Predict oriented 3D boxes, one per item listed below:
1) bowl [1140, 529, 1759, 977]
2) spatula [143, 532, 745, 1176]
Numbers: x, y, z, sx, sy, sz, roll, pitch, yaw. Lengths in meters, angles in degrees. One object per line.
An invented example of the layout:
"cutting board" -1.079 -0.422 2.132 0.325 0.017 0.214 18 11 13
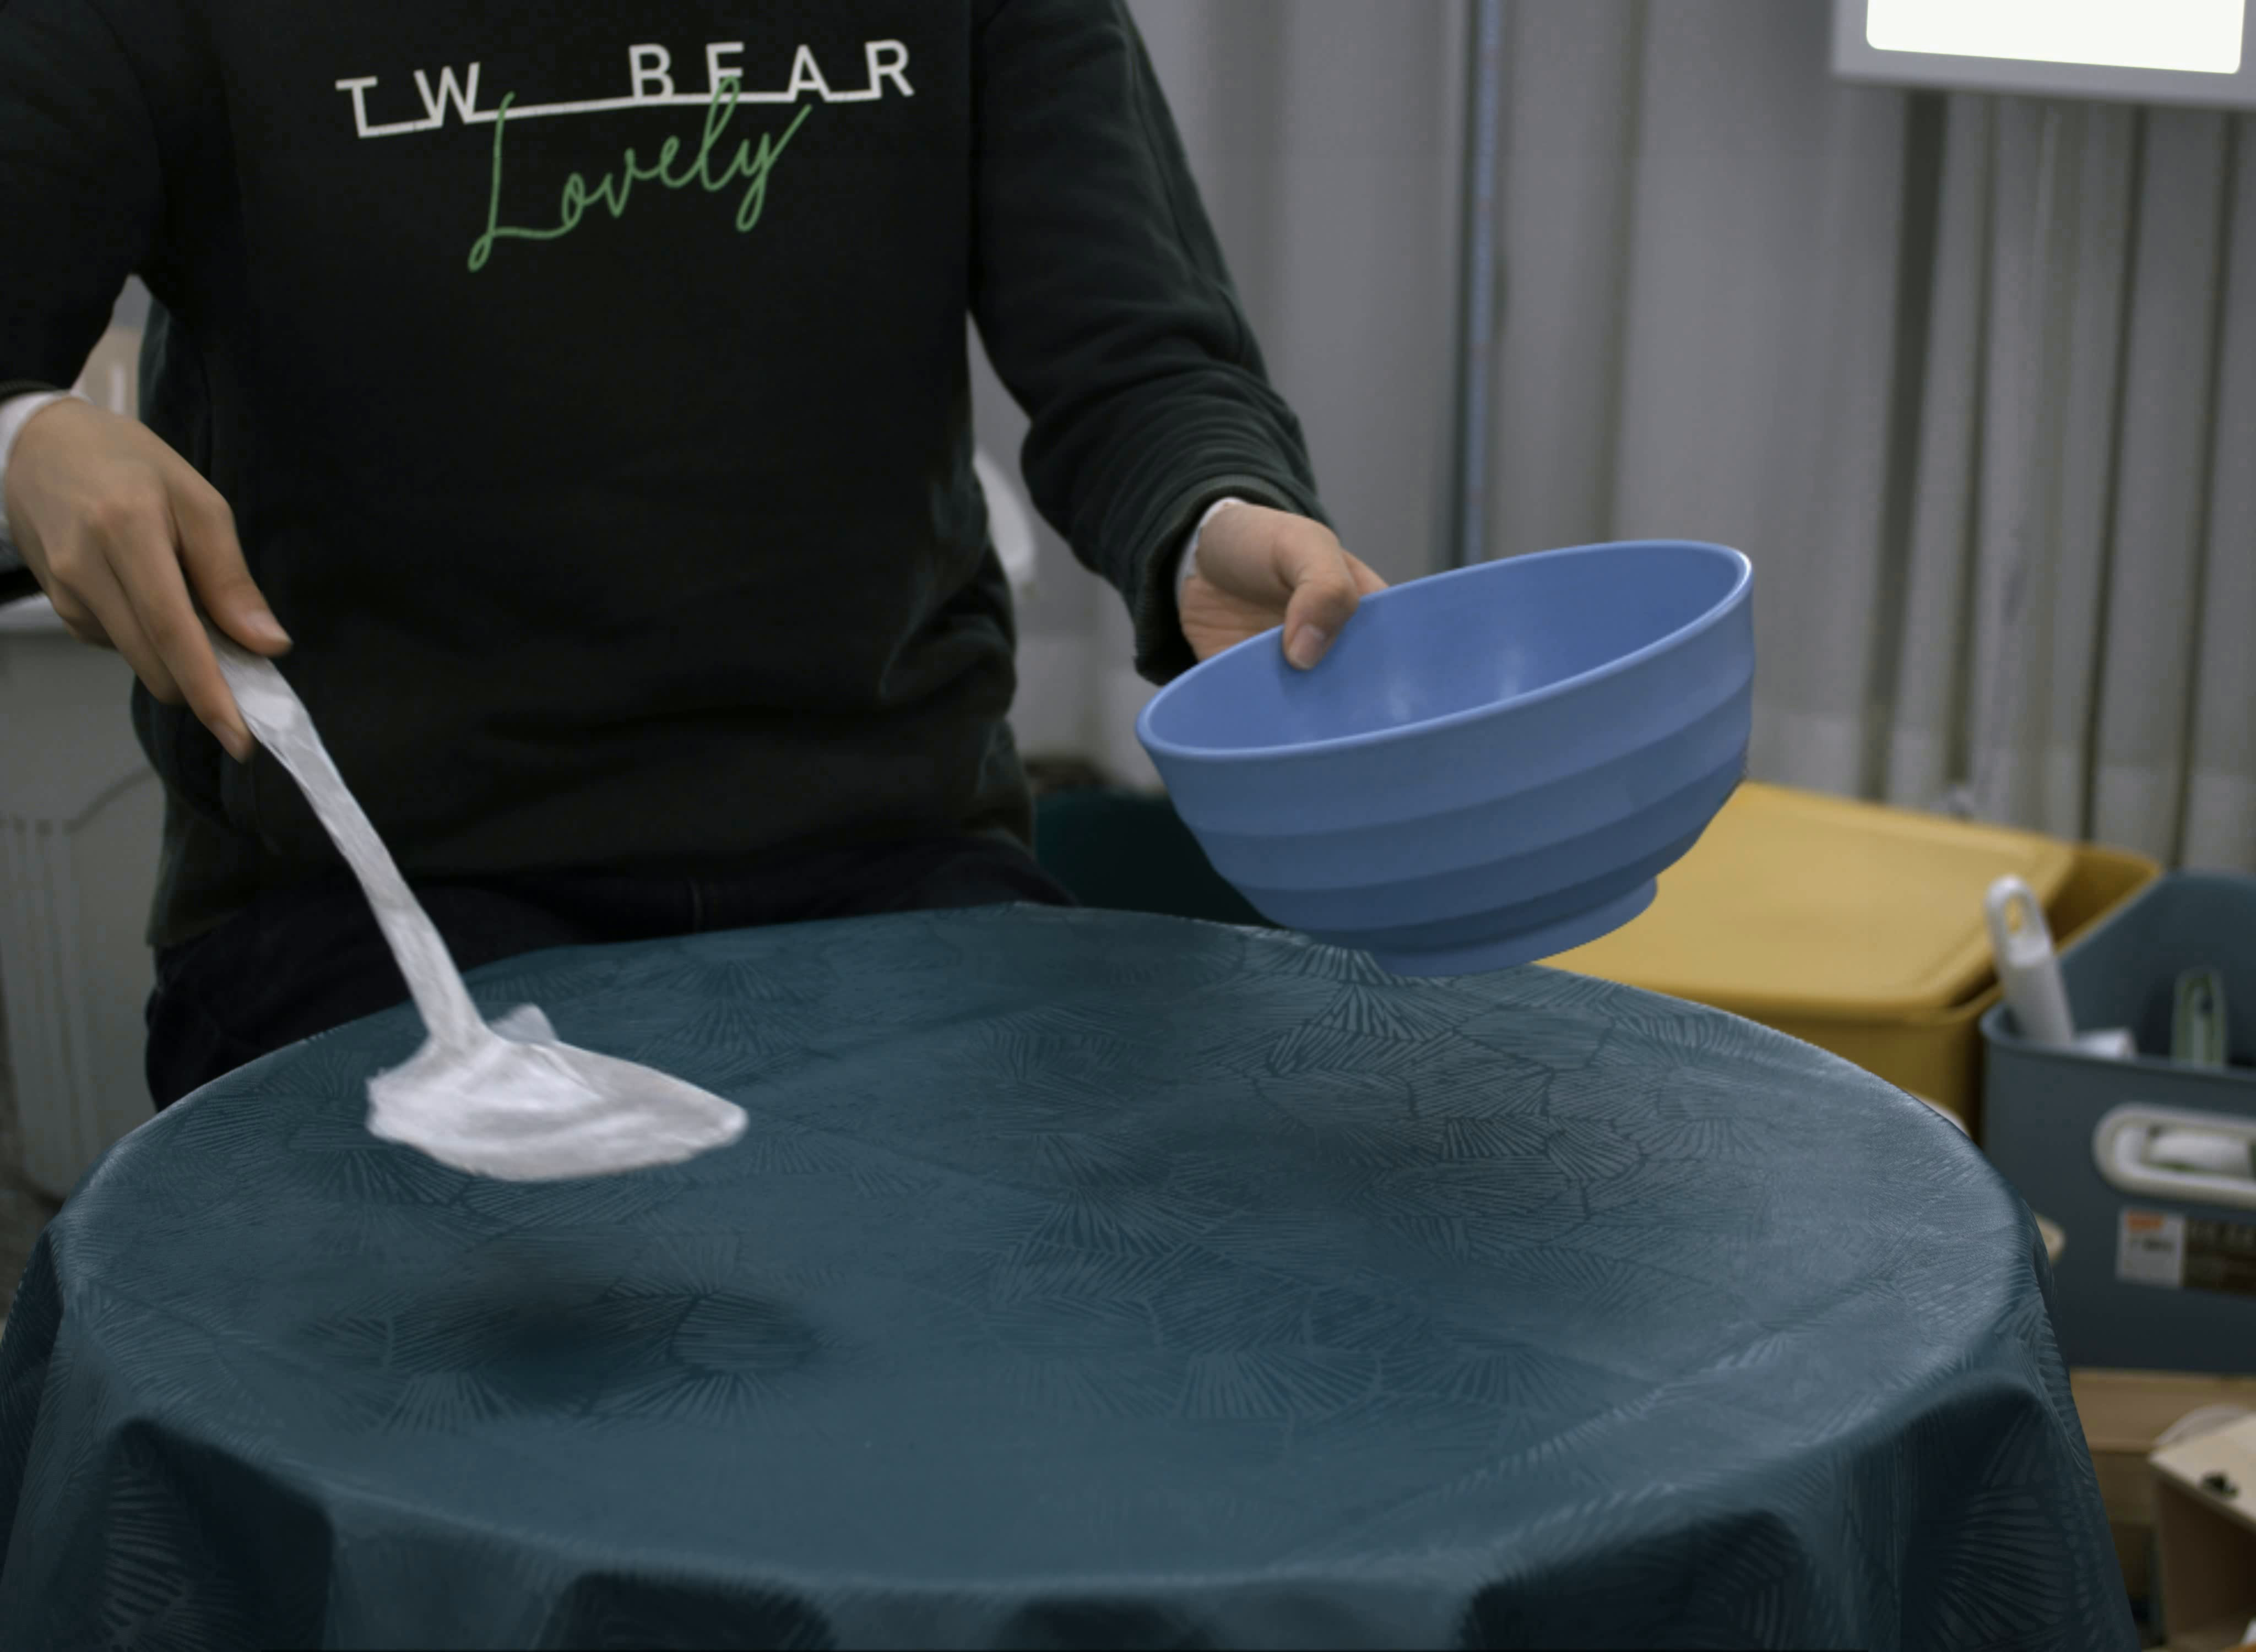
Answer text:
"bowl" 0.110 -0.014 1.633 0.196 0.096 0.195 -15 16 5
"spatula" -0.231 -0.001 1.591 0.099 0.045 0.360 -8 43 -31
